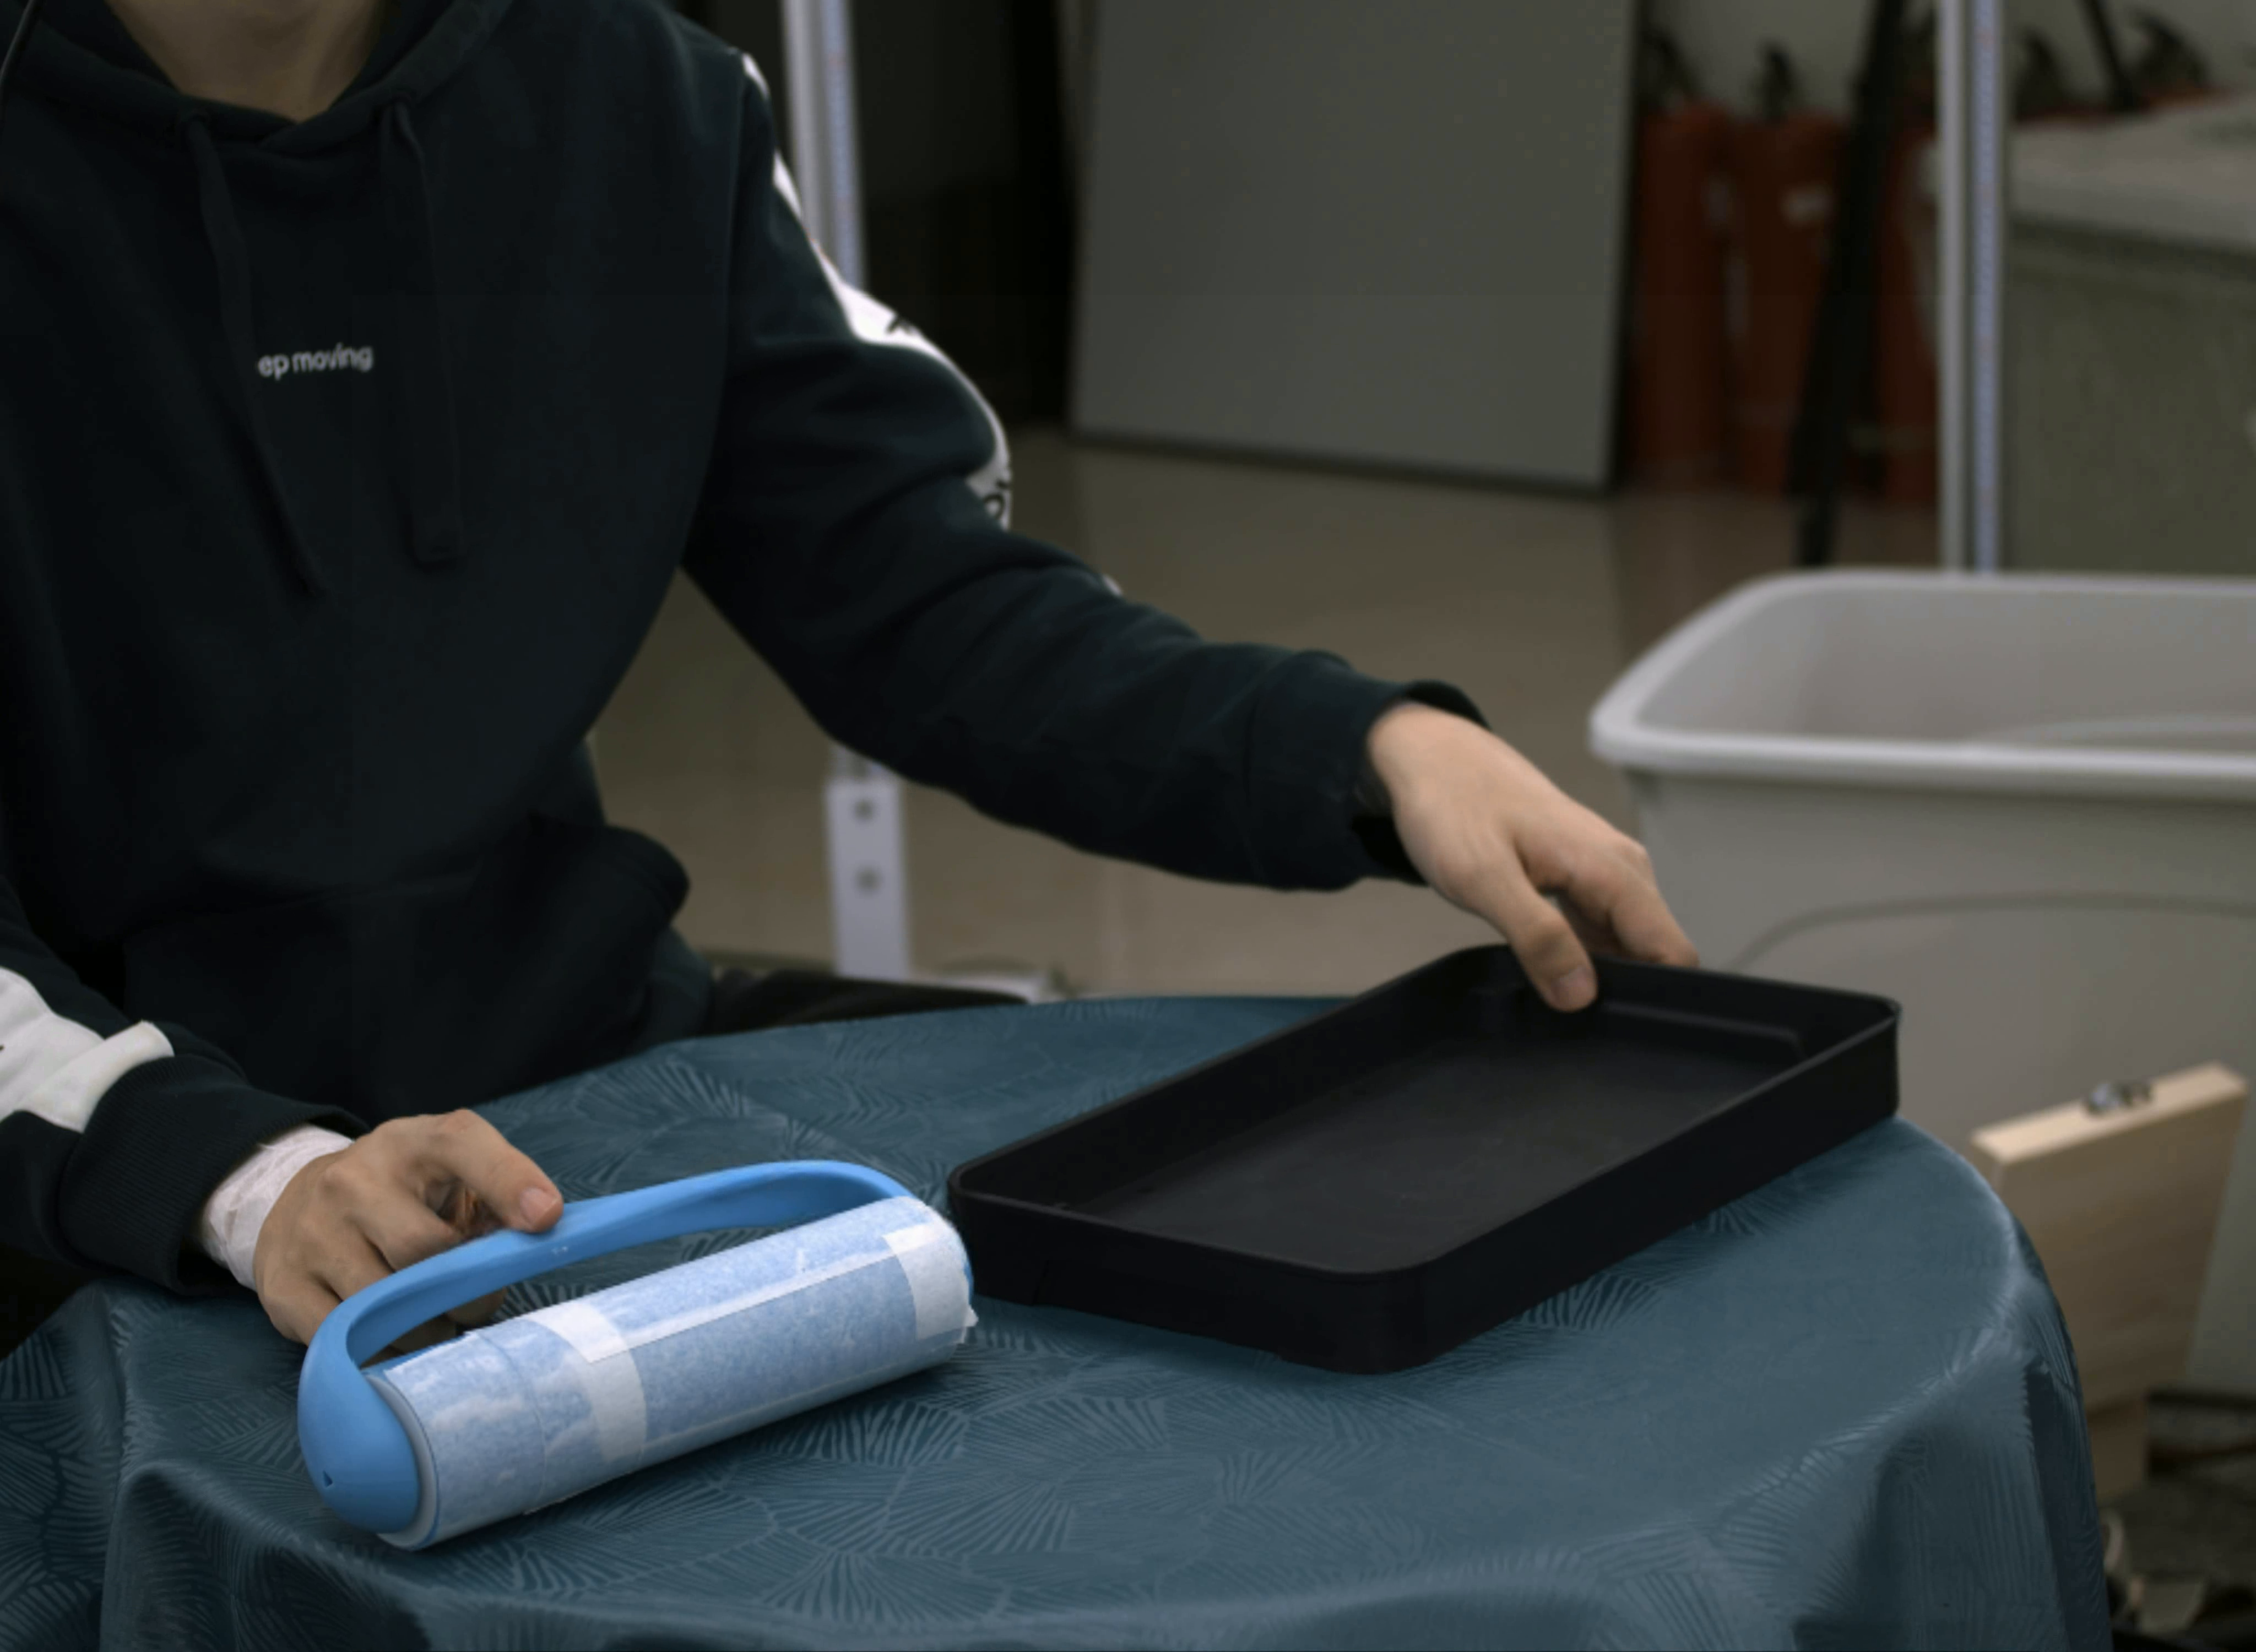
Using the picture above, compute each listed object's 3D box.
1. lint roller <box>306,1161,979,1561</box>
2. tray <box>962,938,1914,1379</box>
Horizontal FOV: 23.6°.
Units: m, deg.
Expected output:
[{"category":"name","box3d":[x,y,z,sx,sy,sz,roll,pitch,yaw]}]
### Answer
[{"category":"lint roller","box3d":[-0.175,0.147,1.600,0.224,0.068,0.182,-19,21,-40]},{"category":"tray","box3d":[0.107,0.102,1.748,0.185,0.037,0.312,6,19,38]}]
